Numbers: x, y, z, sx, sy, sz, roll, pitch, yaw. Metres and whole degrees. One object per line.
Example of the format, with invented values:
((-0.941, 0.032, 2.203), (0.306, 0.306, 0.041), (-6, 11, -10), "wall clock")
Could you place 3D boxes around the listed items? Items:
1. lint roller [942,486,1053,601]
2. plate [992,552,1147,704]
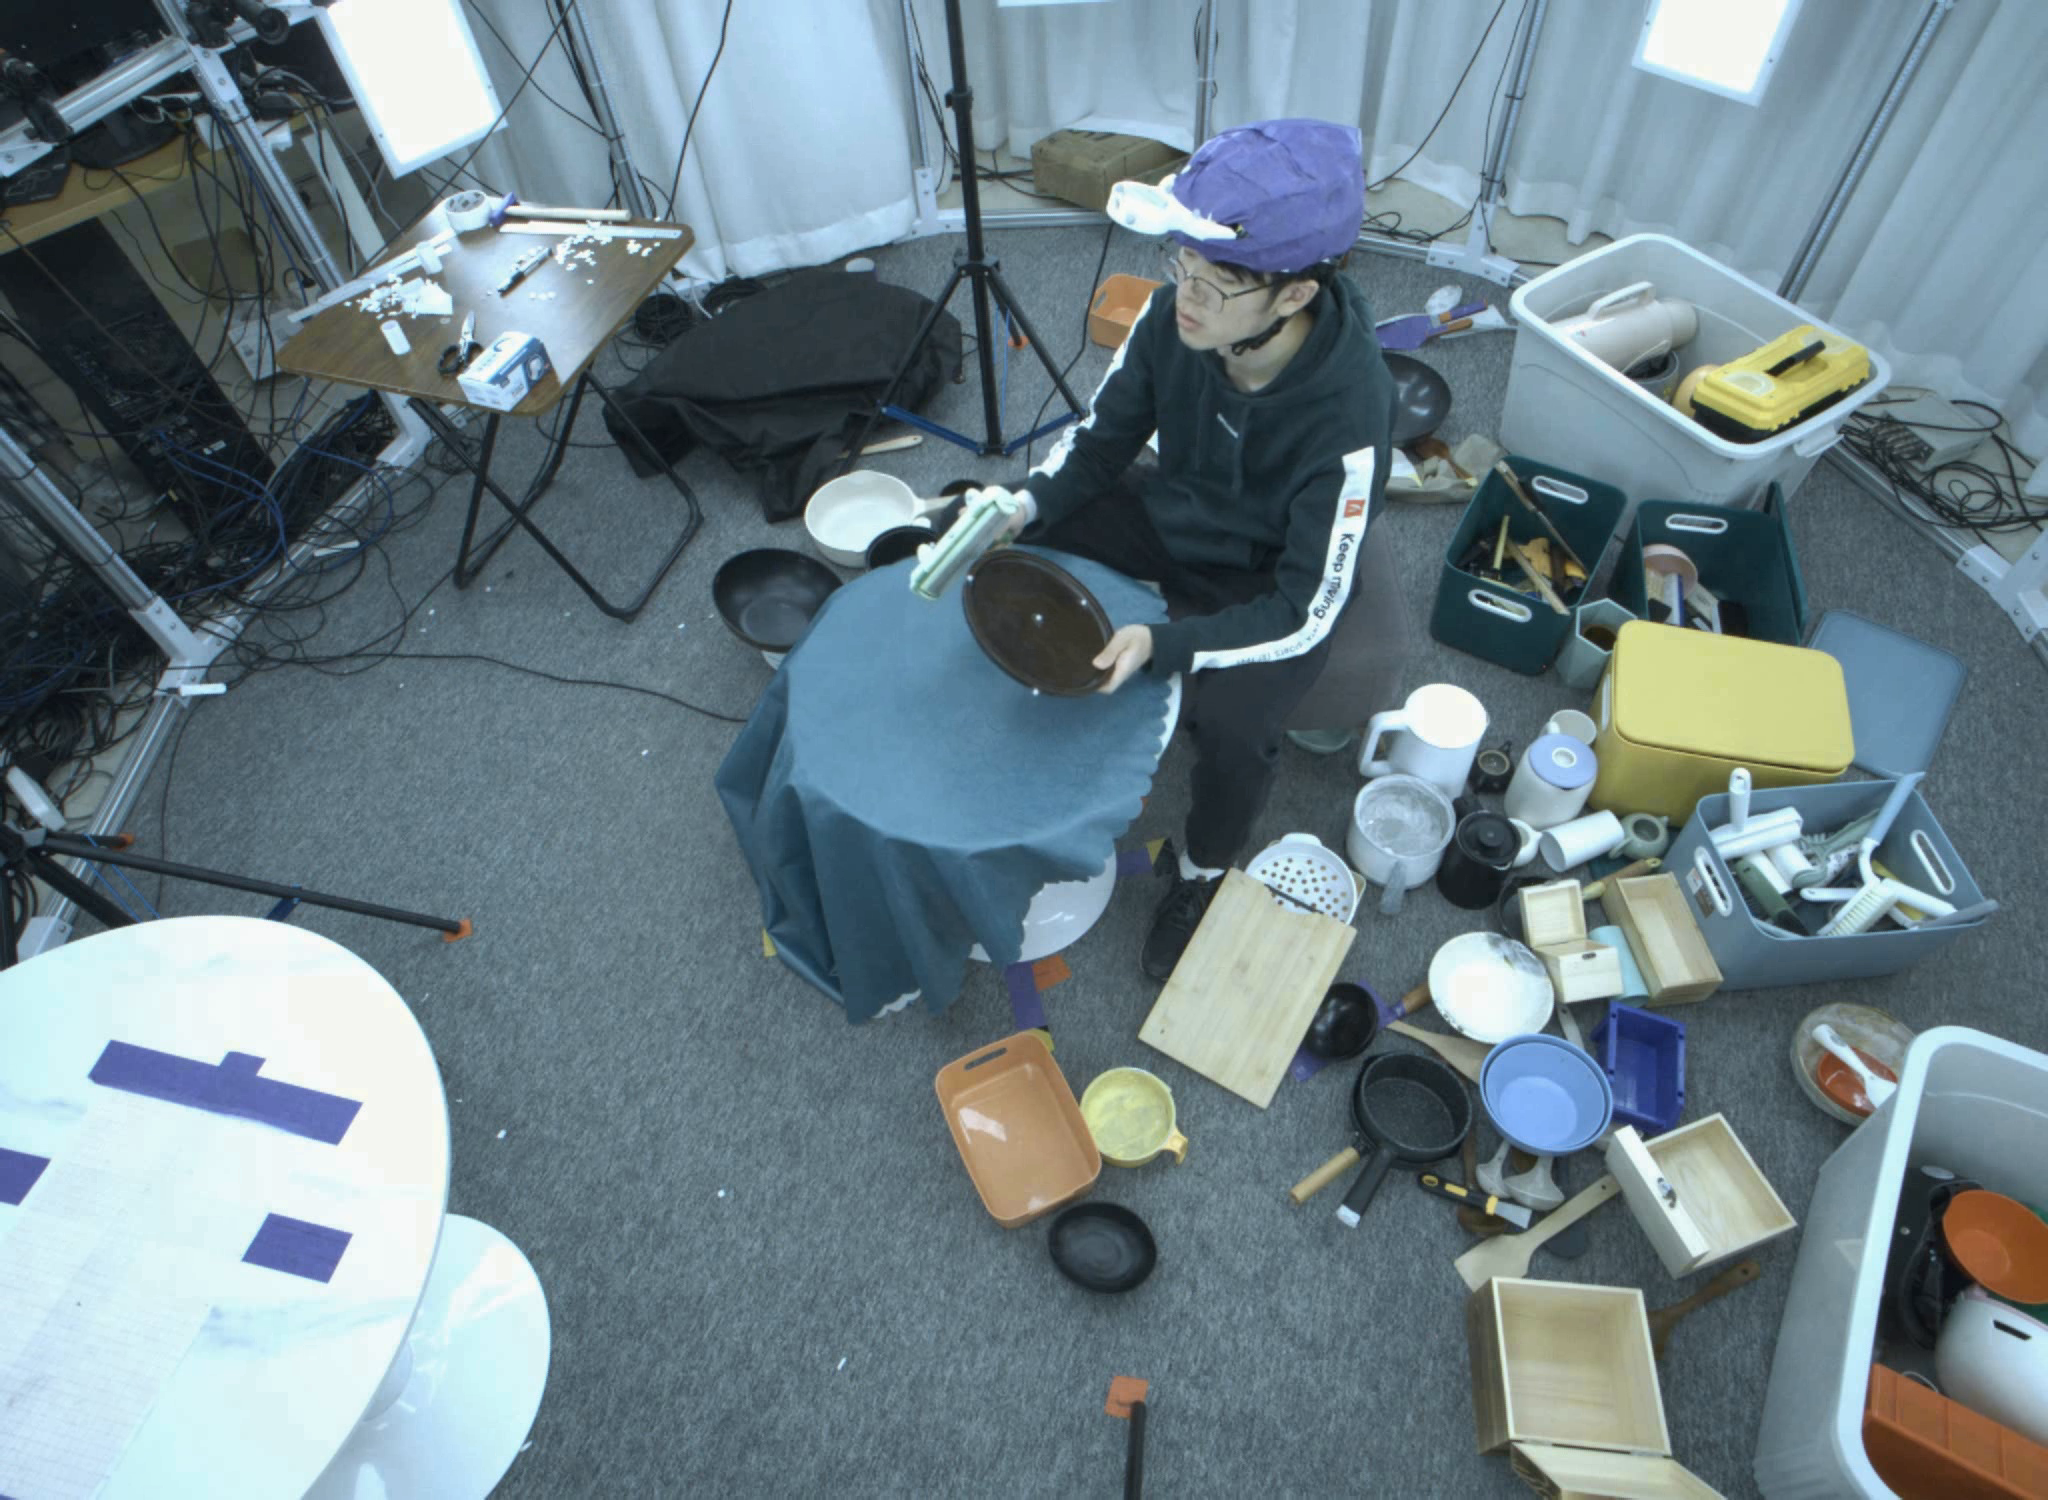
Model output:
((-0.027, -0.317, 1.783), (0.082, 0.197, 0.184), (46, 31, -2), "lint roller")
((0.064, -0.171, 1.718), (0.259, 0.029, 0.252), (20, 51, -24), "plate")
